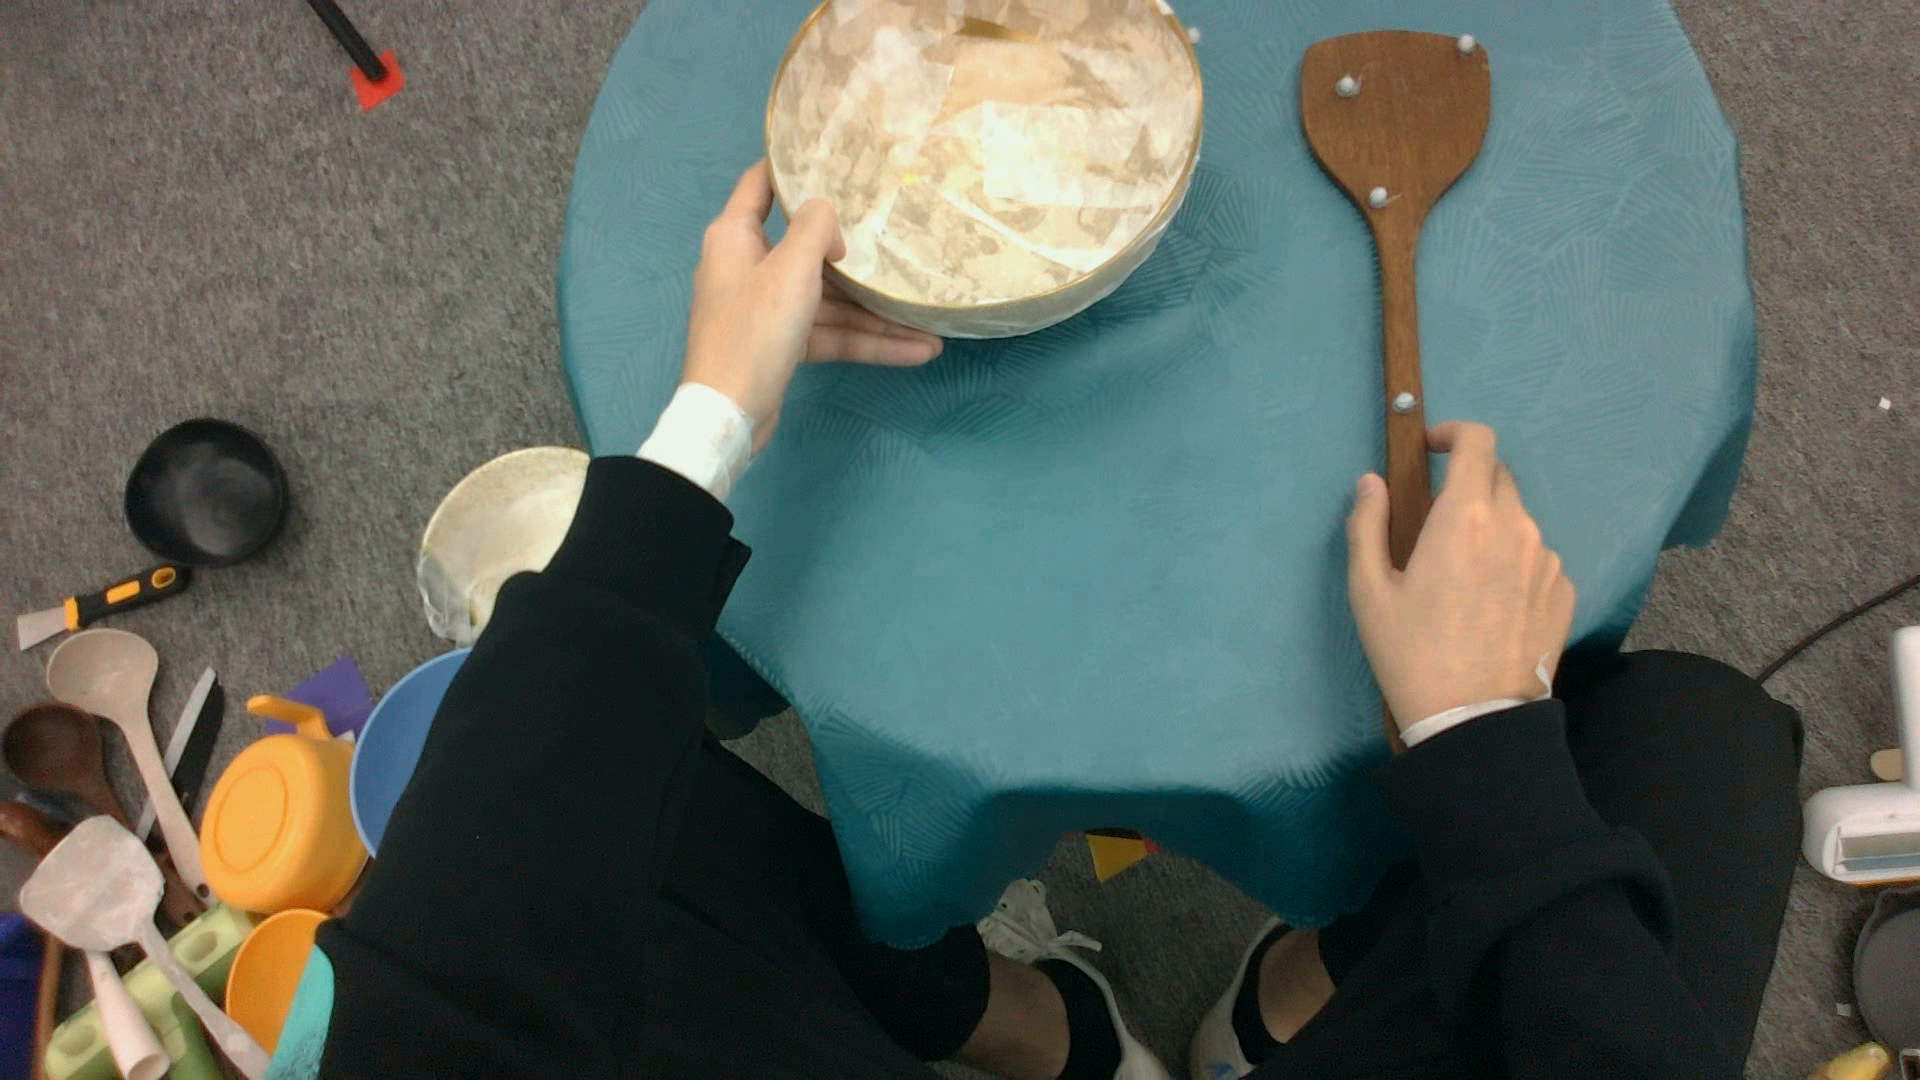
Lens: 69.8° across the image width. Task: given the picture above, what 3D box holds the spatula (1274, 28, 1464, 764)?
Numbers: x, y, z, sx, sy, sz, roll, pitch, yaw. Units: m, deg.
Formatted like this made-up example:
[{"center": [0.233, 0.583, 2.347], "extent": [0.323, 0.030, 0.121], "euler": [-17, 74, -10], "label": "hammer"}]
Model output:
[{"center": [0.204, -0.086, 0.658], "extent": [0.096, 0.016, 0.387], "euler": [1, 70, 5], "label": "spatula"}]

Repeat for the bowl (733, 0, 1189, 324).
[{"center": [0.001, -0.183, 0.666], "extent": [0.214, 0.094, 0.215], "euler": [-1, 71, 4], "label": "bowl"}]
